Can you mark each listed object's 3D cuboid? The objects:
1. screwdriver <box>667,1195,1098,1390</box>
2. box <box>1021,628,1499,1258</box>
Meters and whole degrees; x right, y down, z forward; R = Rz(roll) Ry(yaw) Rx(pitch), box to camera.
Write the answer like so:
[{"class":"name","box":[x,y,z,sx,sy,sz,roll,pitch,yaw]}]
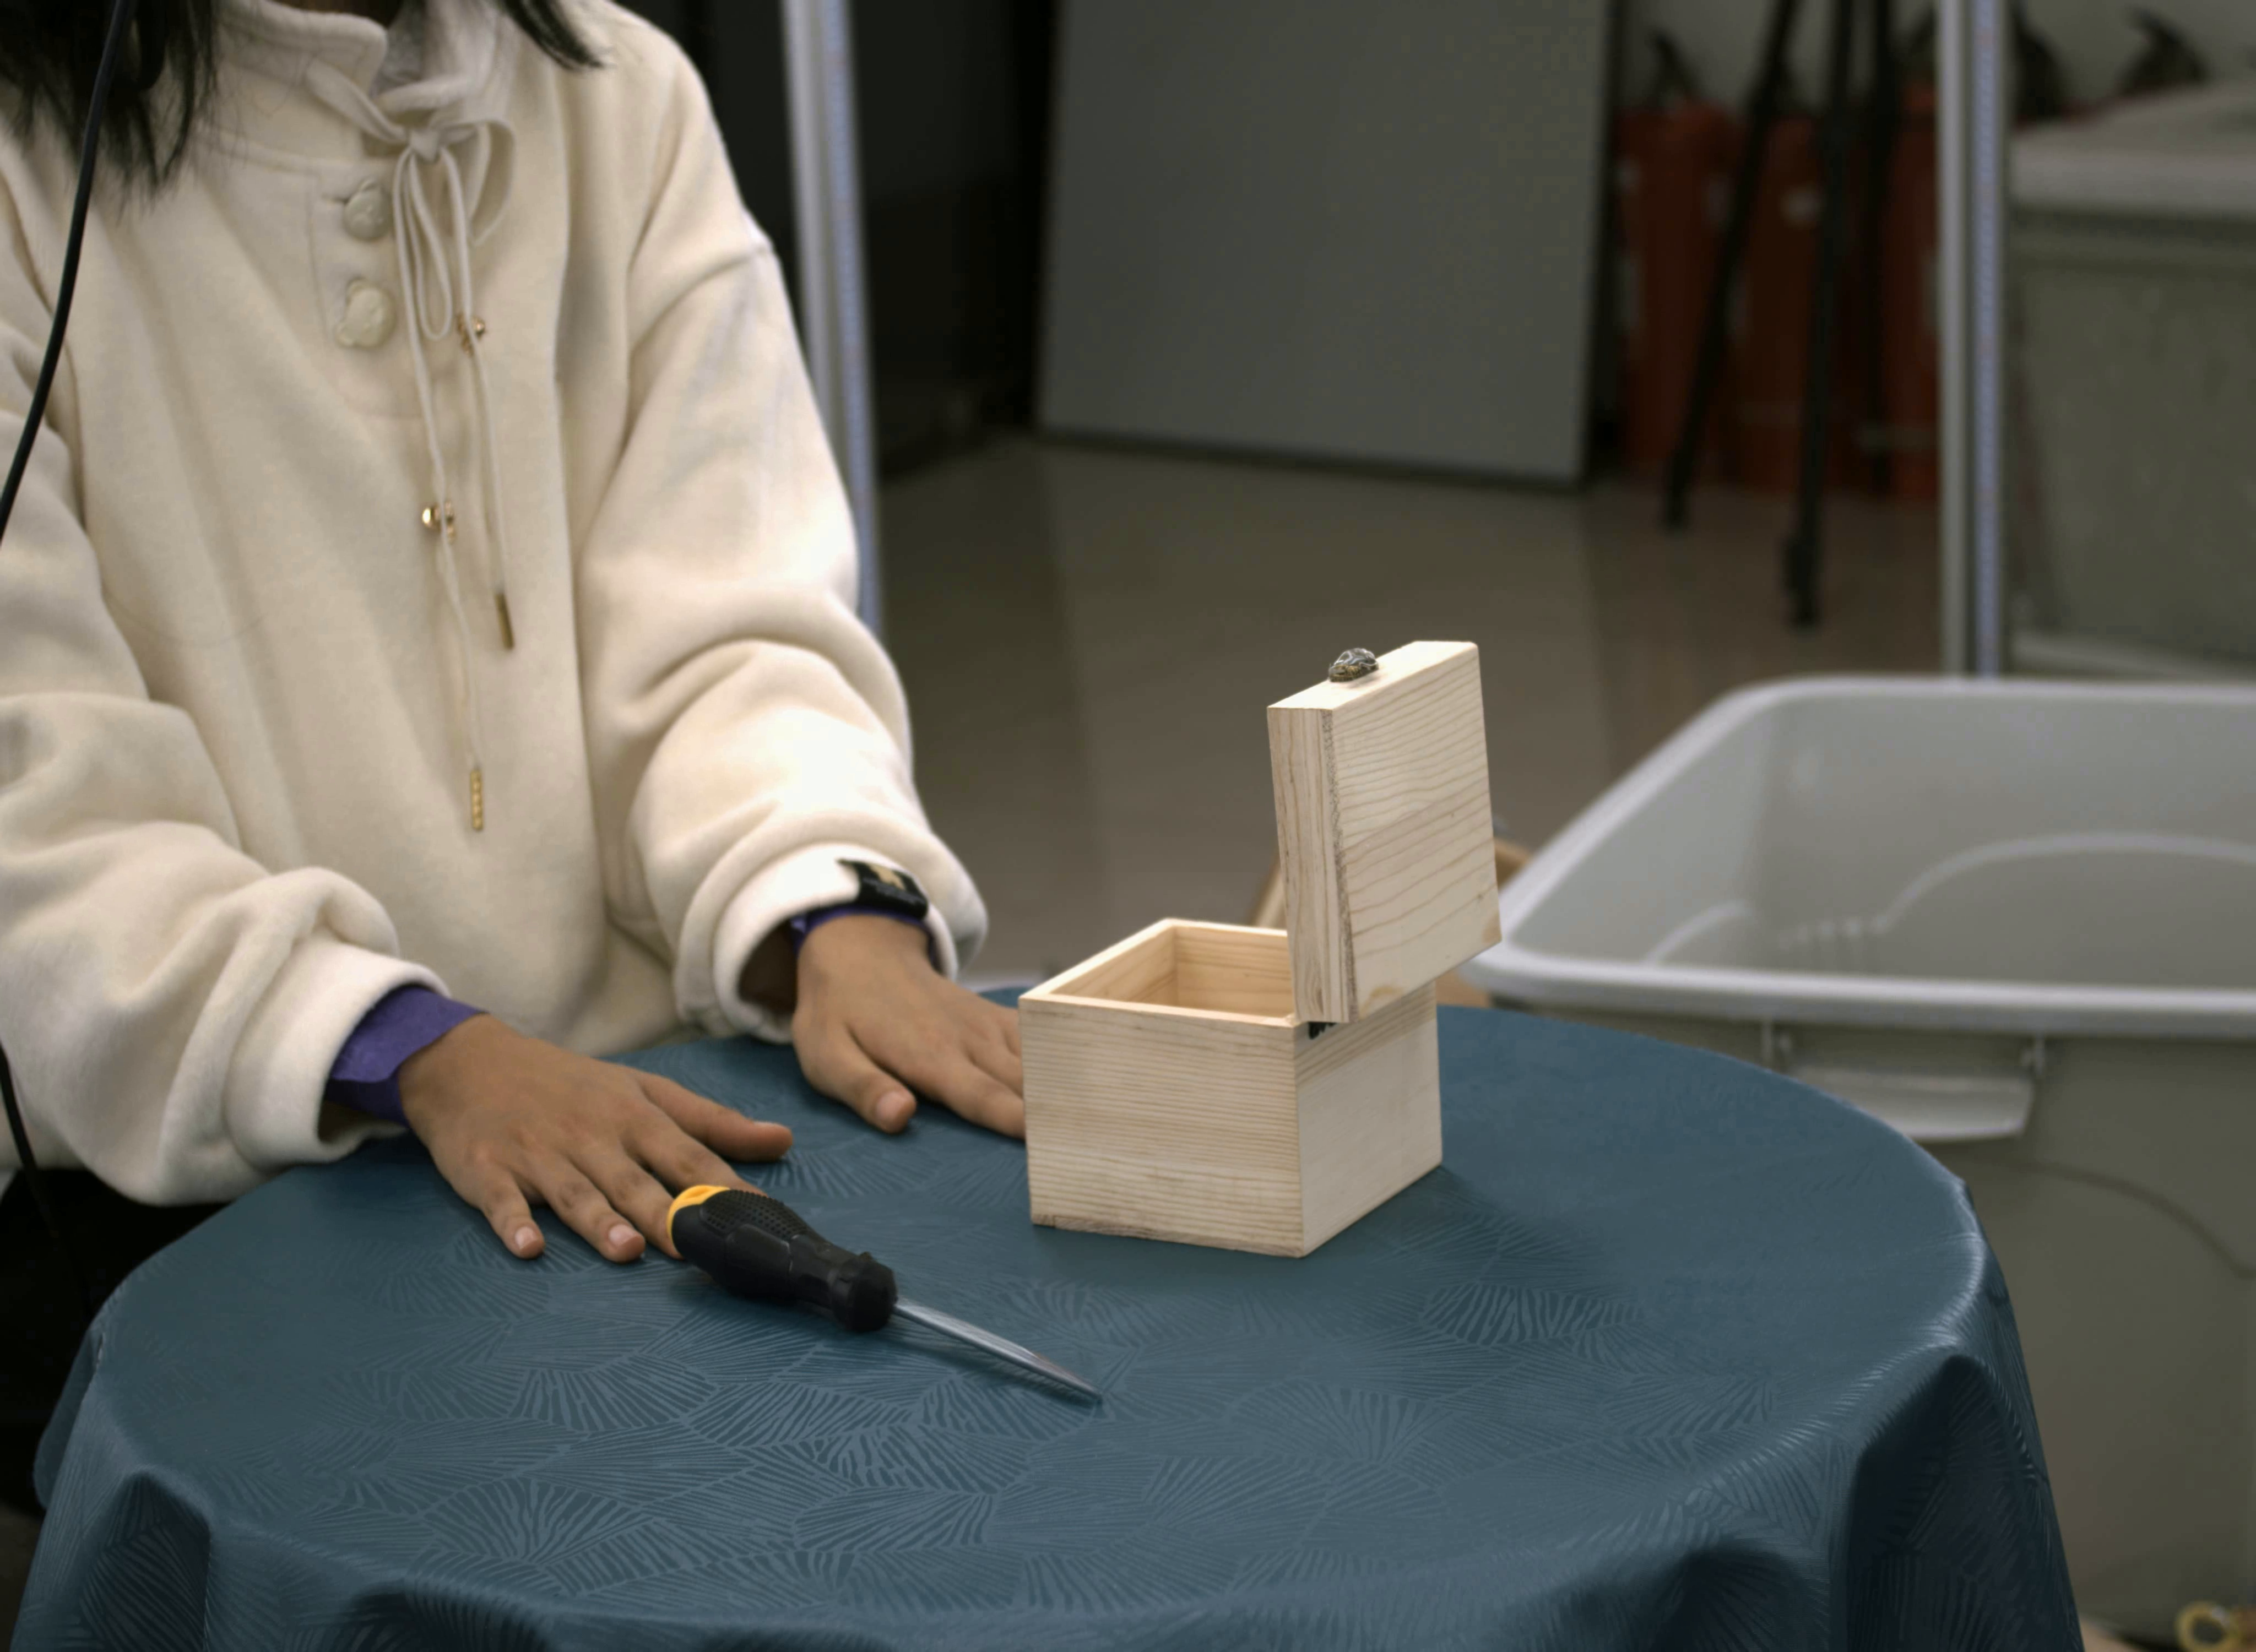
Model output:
[{"class":"screwdriver","box":[-0.078,0.146,1.646,0.031,0.032,0.200,-13,19,-36]},{"class":"box","box":[0.040,0.032,1.734,0.134,0.186,0.101,5,16,29]}]
